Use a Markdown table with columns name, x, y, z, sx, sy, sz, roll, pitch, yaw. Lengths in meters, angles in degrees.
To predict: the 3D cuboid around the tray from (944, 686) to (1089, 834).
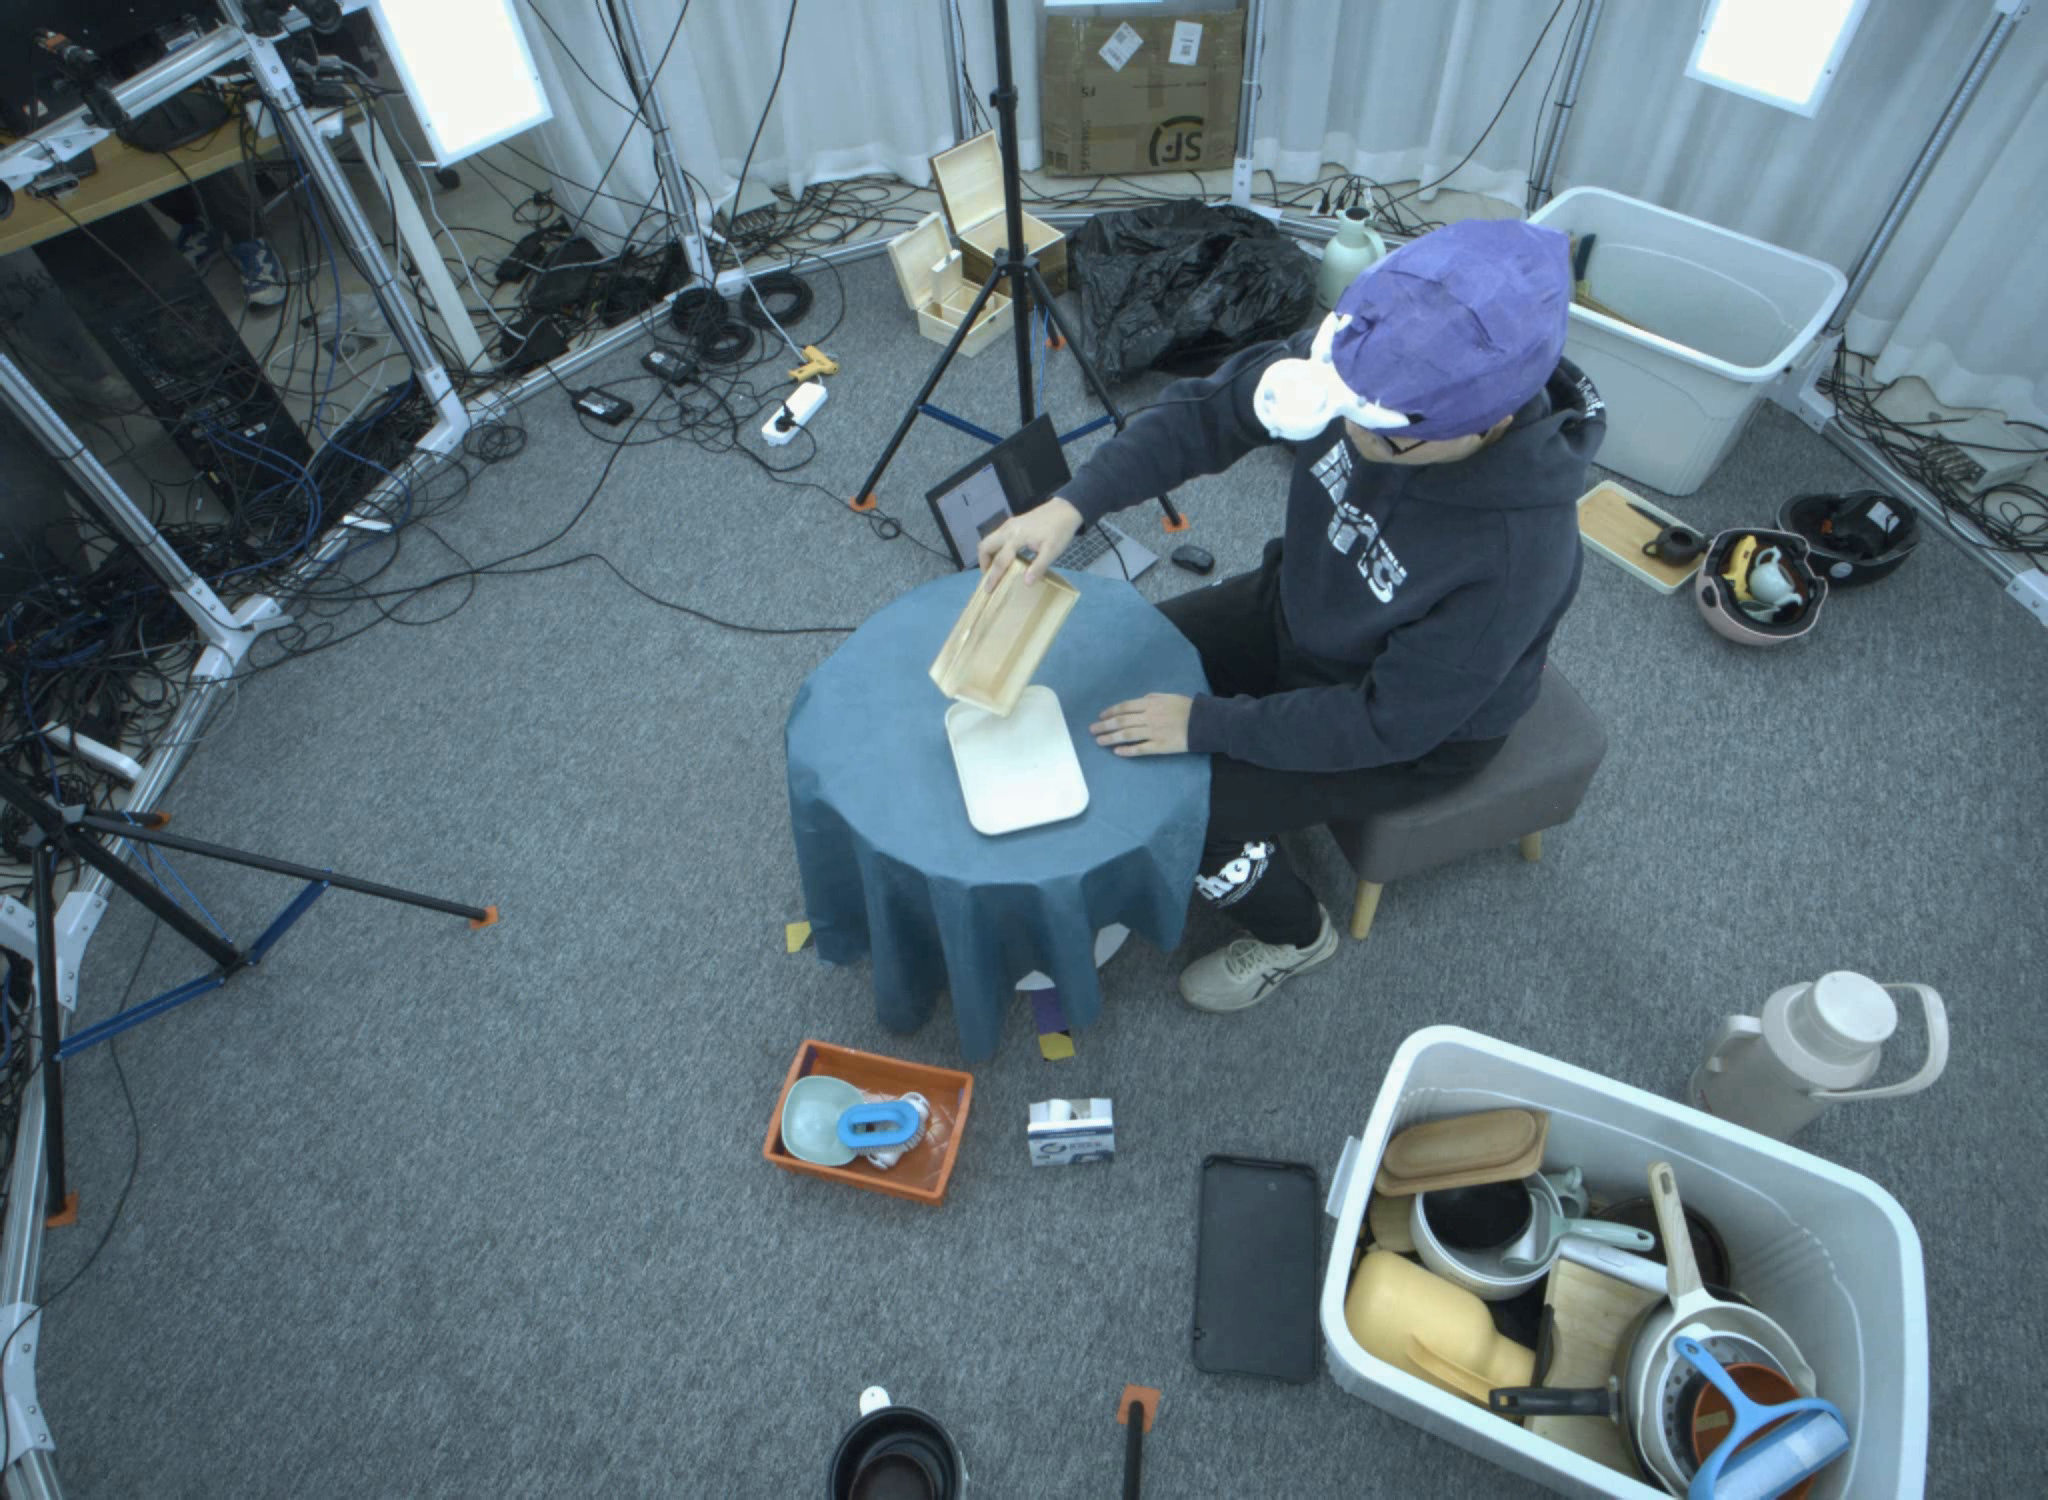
| name | x | y | z | sx | sy | sz | roll | pitch | yaw |
| --- | --- | --- | --- | --- | --- | --- | --- | --- | --- |
| tray | -0.013 | 0.013 | 1.769 | 0.172 | 0.017 | 0.236 | -12 | 55 | -8 |

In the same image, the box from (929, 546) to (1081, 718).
| name | x | y | z | sx | sy | sz | roll | pitch | yaw |
| --- | --- | --- | --- | --- | --- | --- | --- | --- | --- |
| box | -0.029 | -0.163 | 1.723 | 0.110 | 0.211 | 0.078 | 19 | 20 | -36 |
